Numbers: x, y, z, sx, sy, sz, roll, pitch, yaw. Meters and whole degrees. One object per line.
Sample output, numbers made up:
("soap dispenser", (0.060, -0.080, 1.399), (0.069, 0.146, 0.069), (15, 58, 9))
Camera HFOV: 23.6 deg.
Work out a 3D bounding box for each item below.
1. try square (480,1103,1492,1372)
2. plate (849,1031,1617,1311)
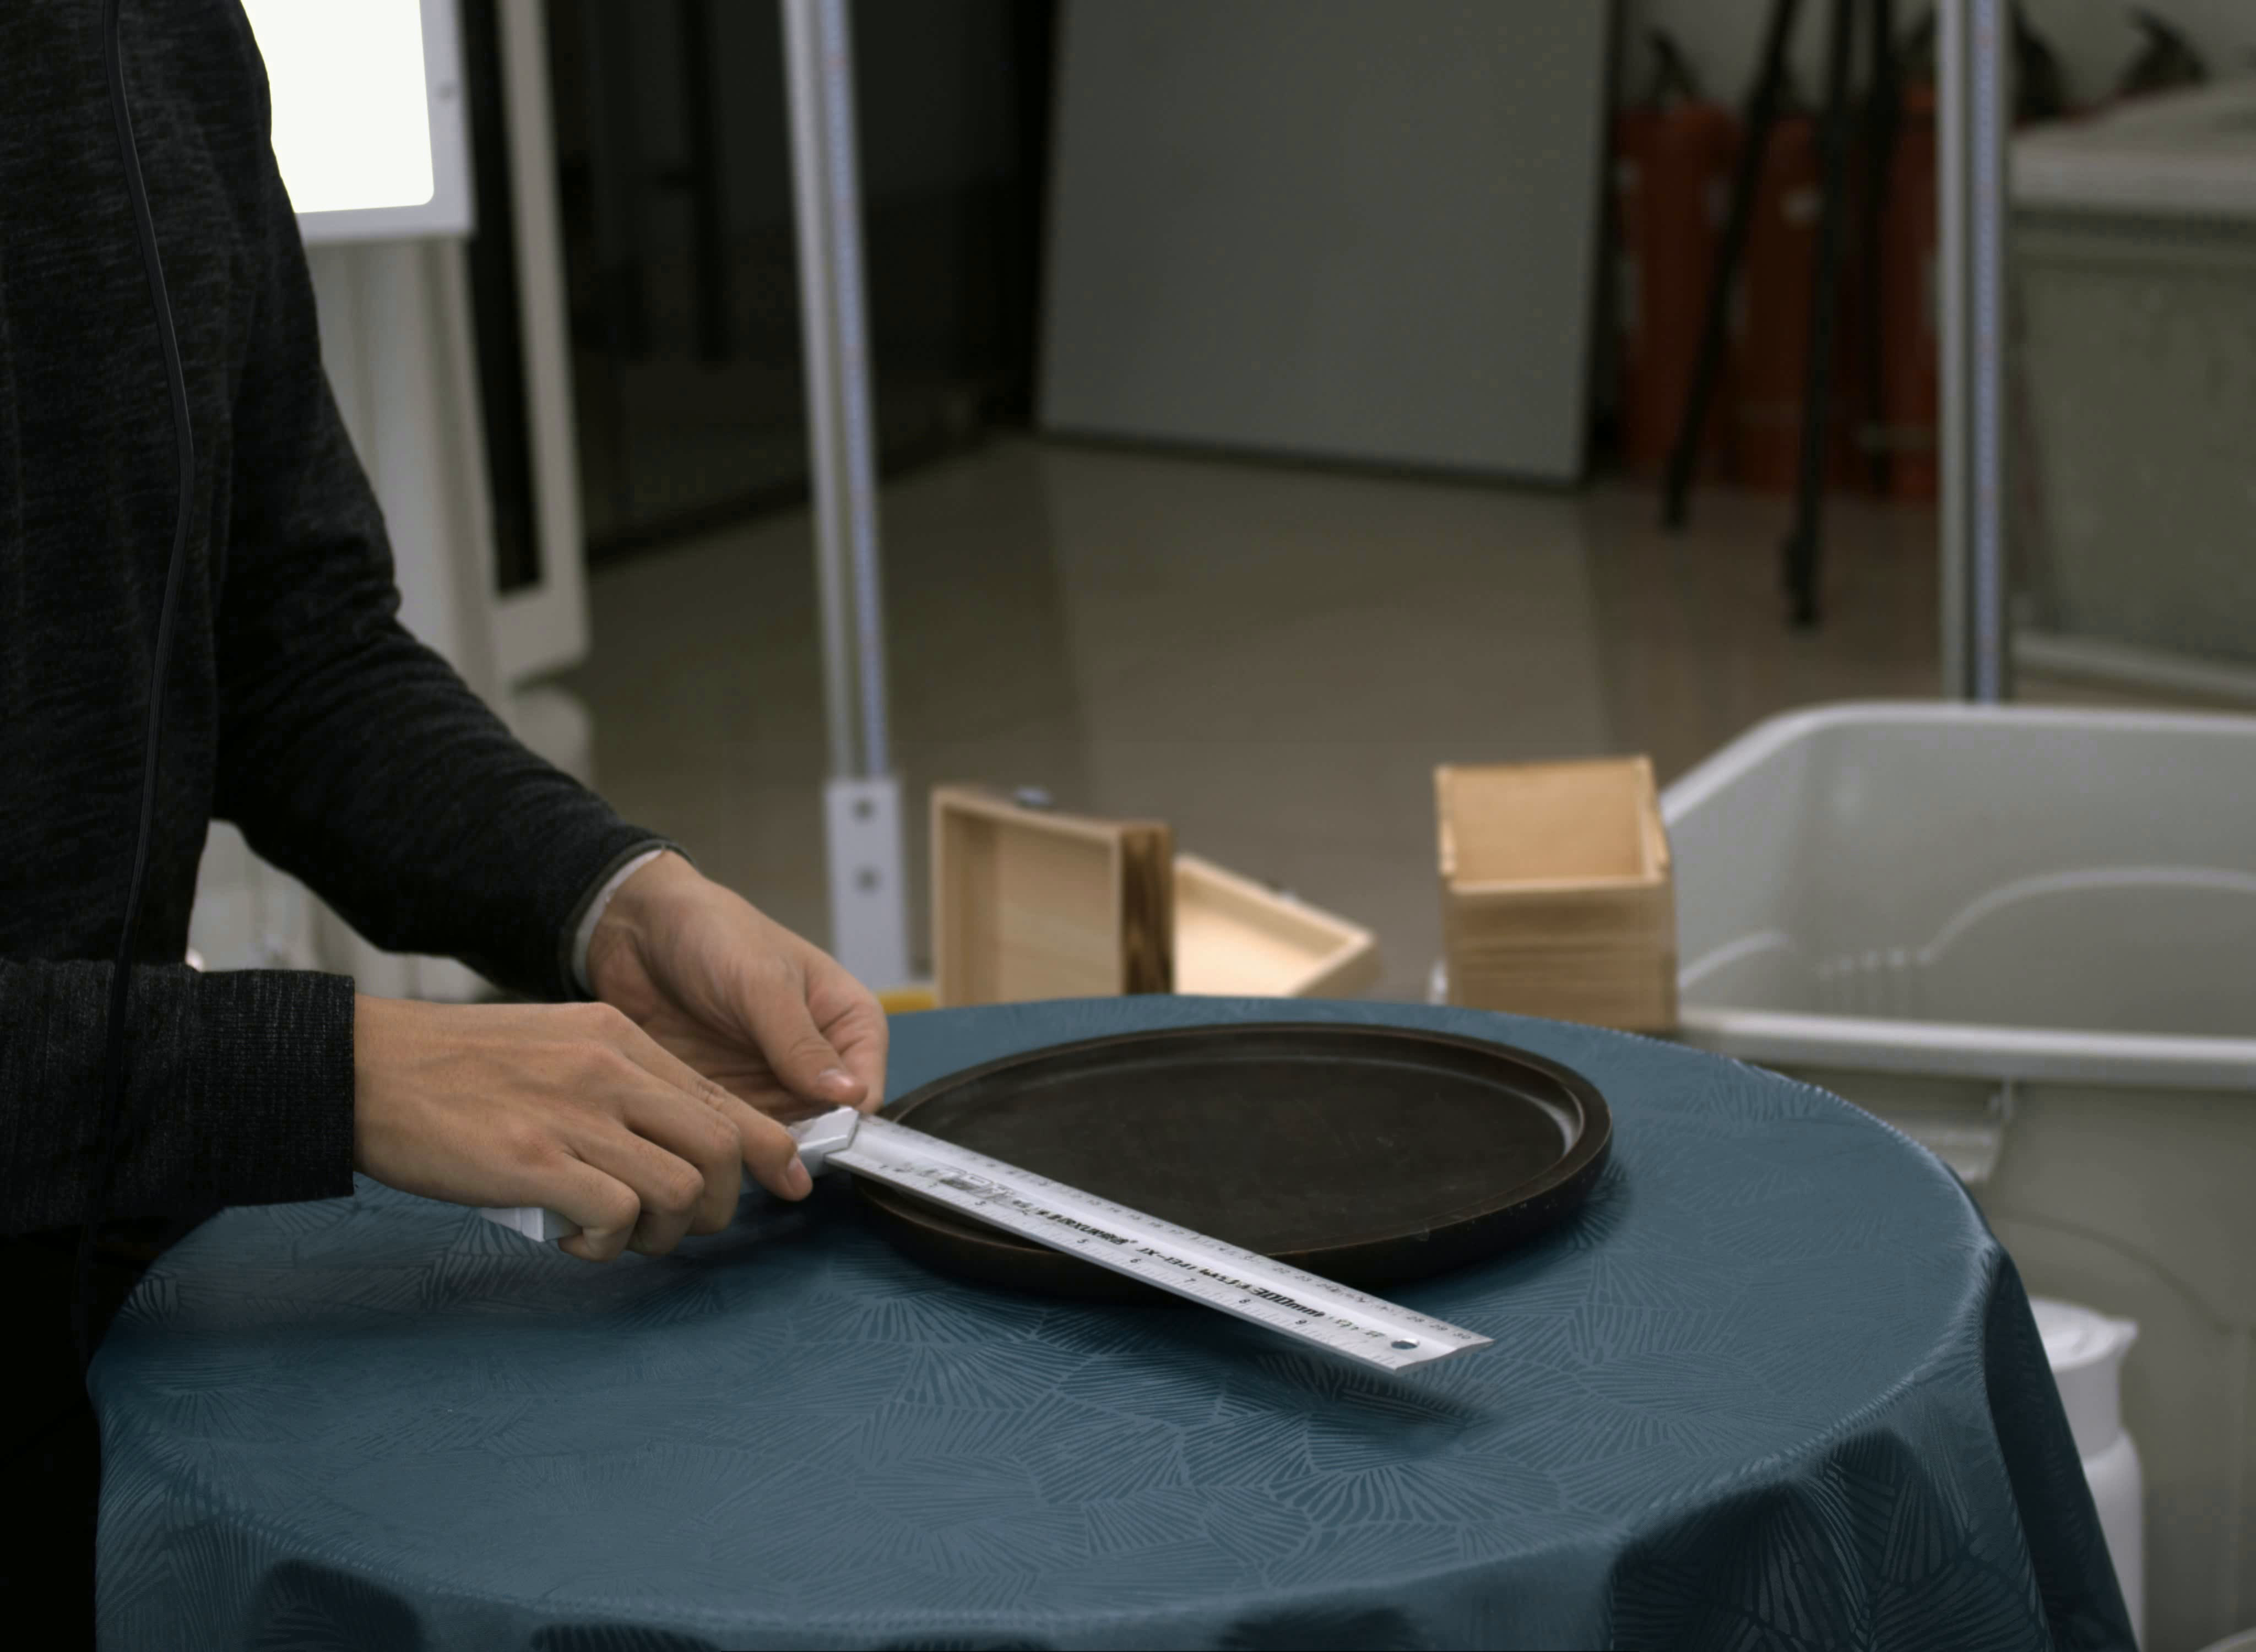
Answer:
("try square", (-0.049, 0.135, 1.626), (0.149, 0.016, 0.316), (-14, 18, -36))
("plate", (0.034, 0.109, 1.757), (0.251, 0.029, 0.255), (-4, 15, 0))
